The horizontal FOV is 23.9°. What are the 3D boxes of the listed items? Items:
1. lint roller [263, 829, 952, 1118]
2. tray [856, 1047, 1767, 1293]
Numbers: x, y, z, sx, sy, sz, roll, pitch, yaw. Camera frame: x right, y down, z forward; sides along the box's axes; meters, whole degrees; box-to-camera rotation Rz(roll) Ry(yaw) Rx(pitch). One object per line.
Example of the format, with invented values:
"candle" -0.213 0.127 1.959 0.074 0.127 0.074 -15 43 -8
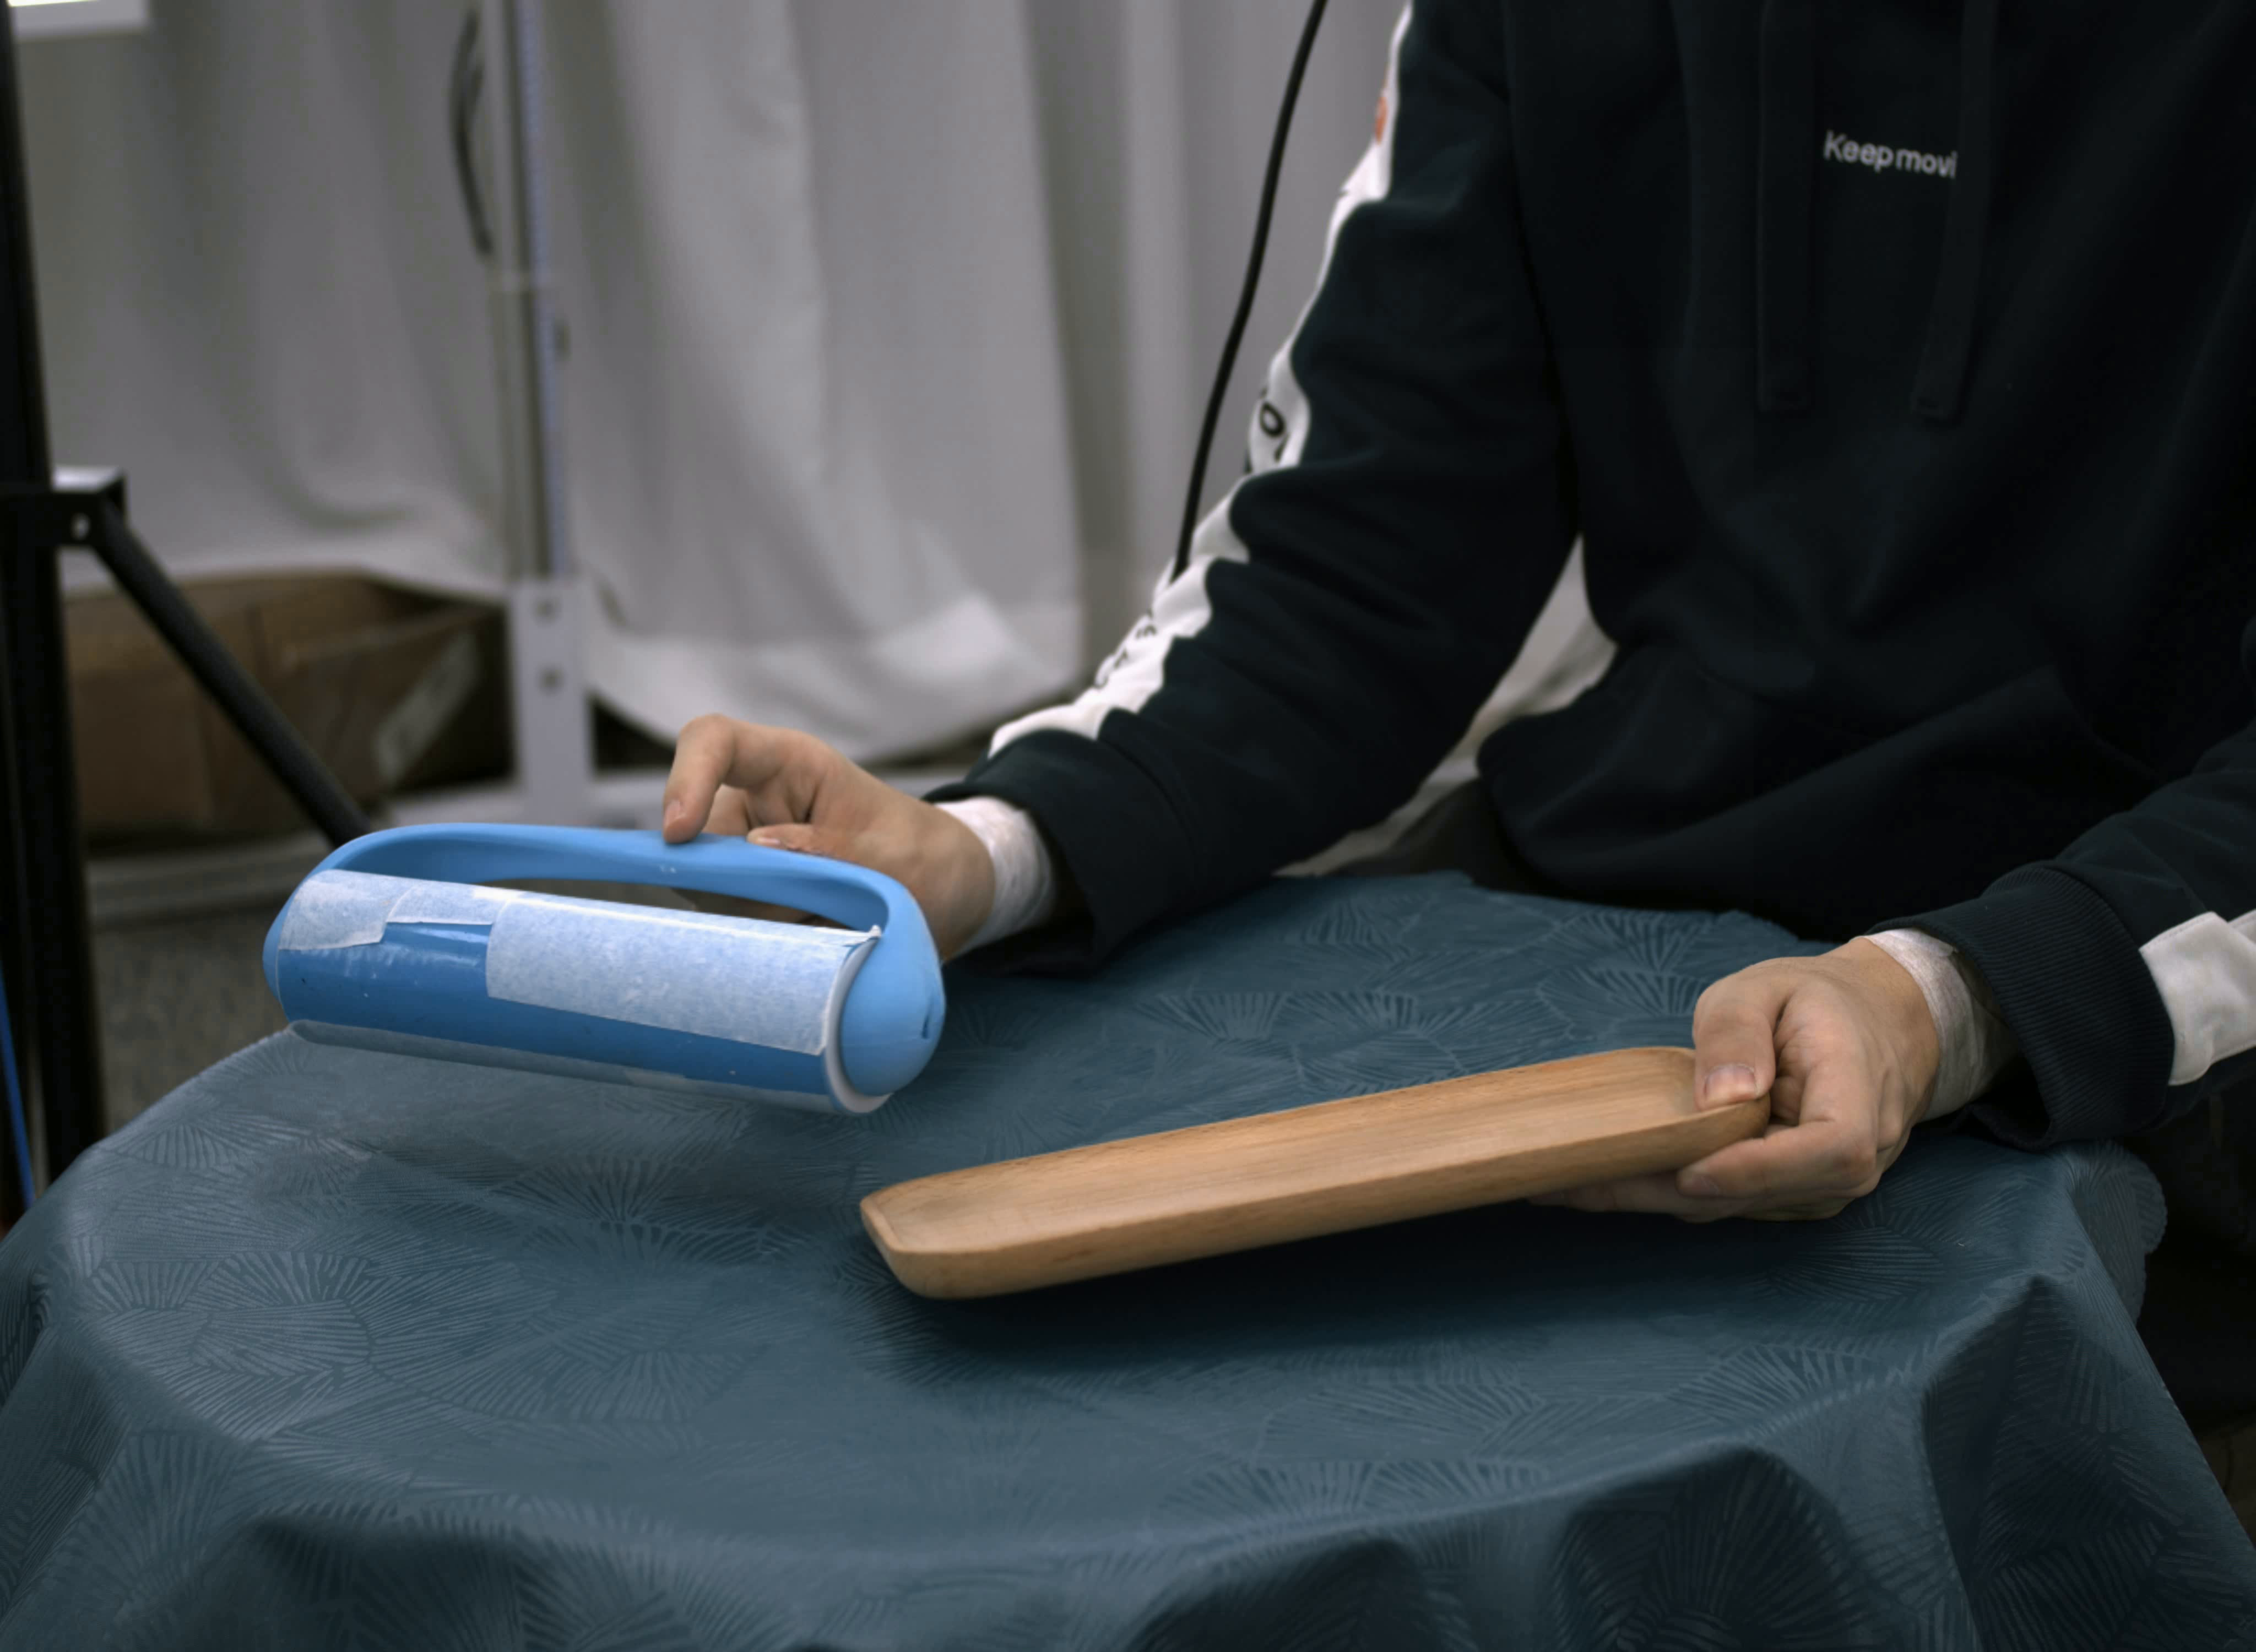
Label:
"lint roller" -0.133 0.034 1.629 0.232 0.068 0.177 3 16 26
"tray" 0.051 0.096 1.494 0.248 0.023 0.131 -10 4 -5
